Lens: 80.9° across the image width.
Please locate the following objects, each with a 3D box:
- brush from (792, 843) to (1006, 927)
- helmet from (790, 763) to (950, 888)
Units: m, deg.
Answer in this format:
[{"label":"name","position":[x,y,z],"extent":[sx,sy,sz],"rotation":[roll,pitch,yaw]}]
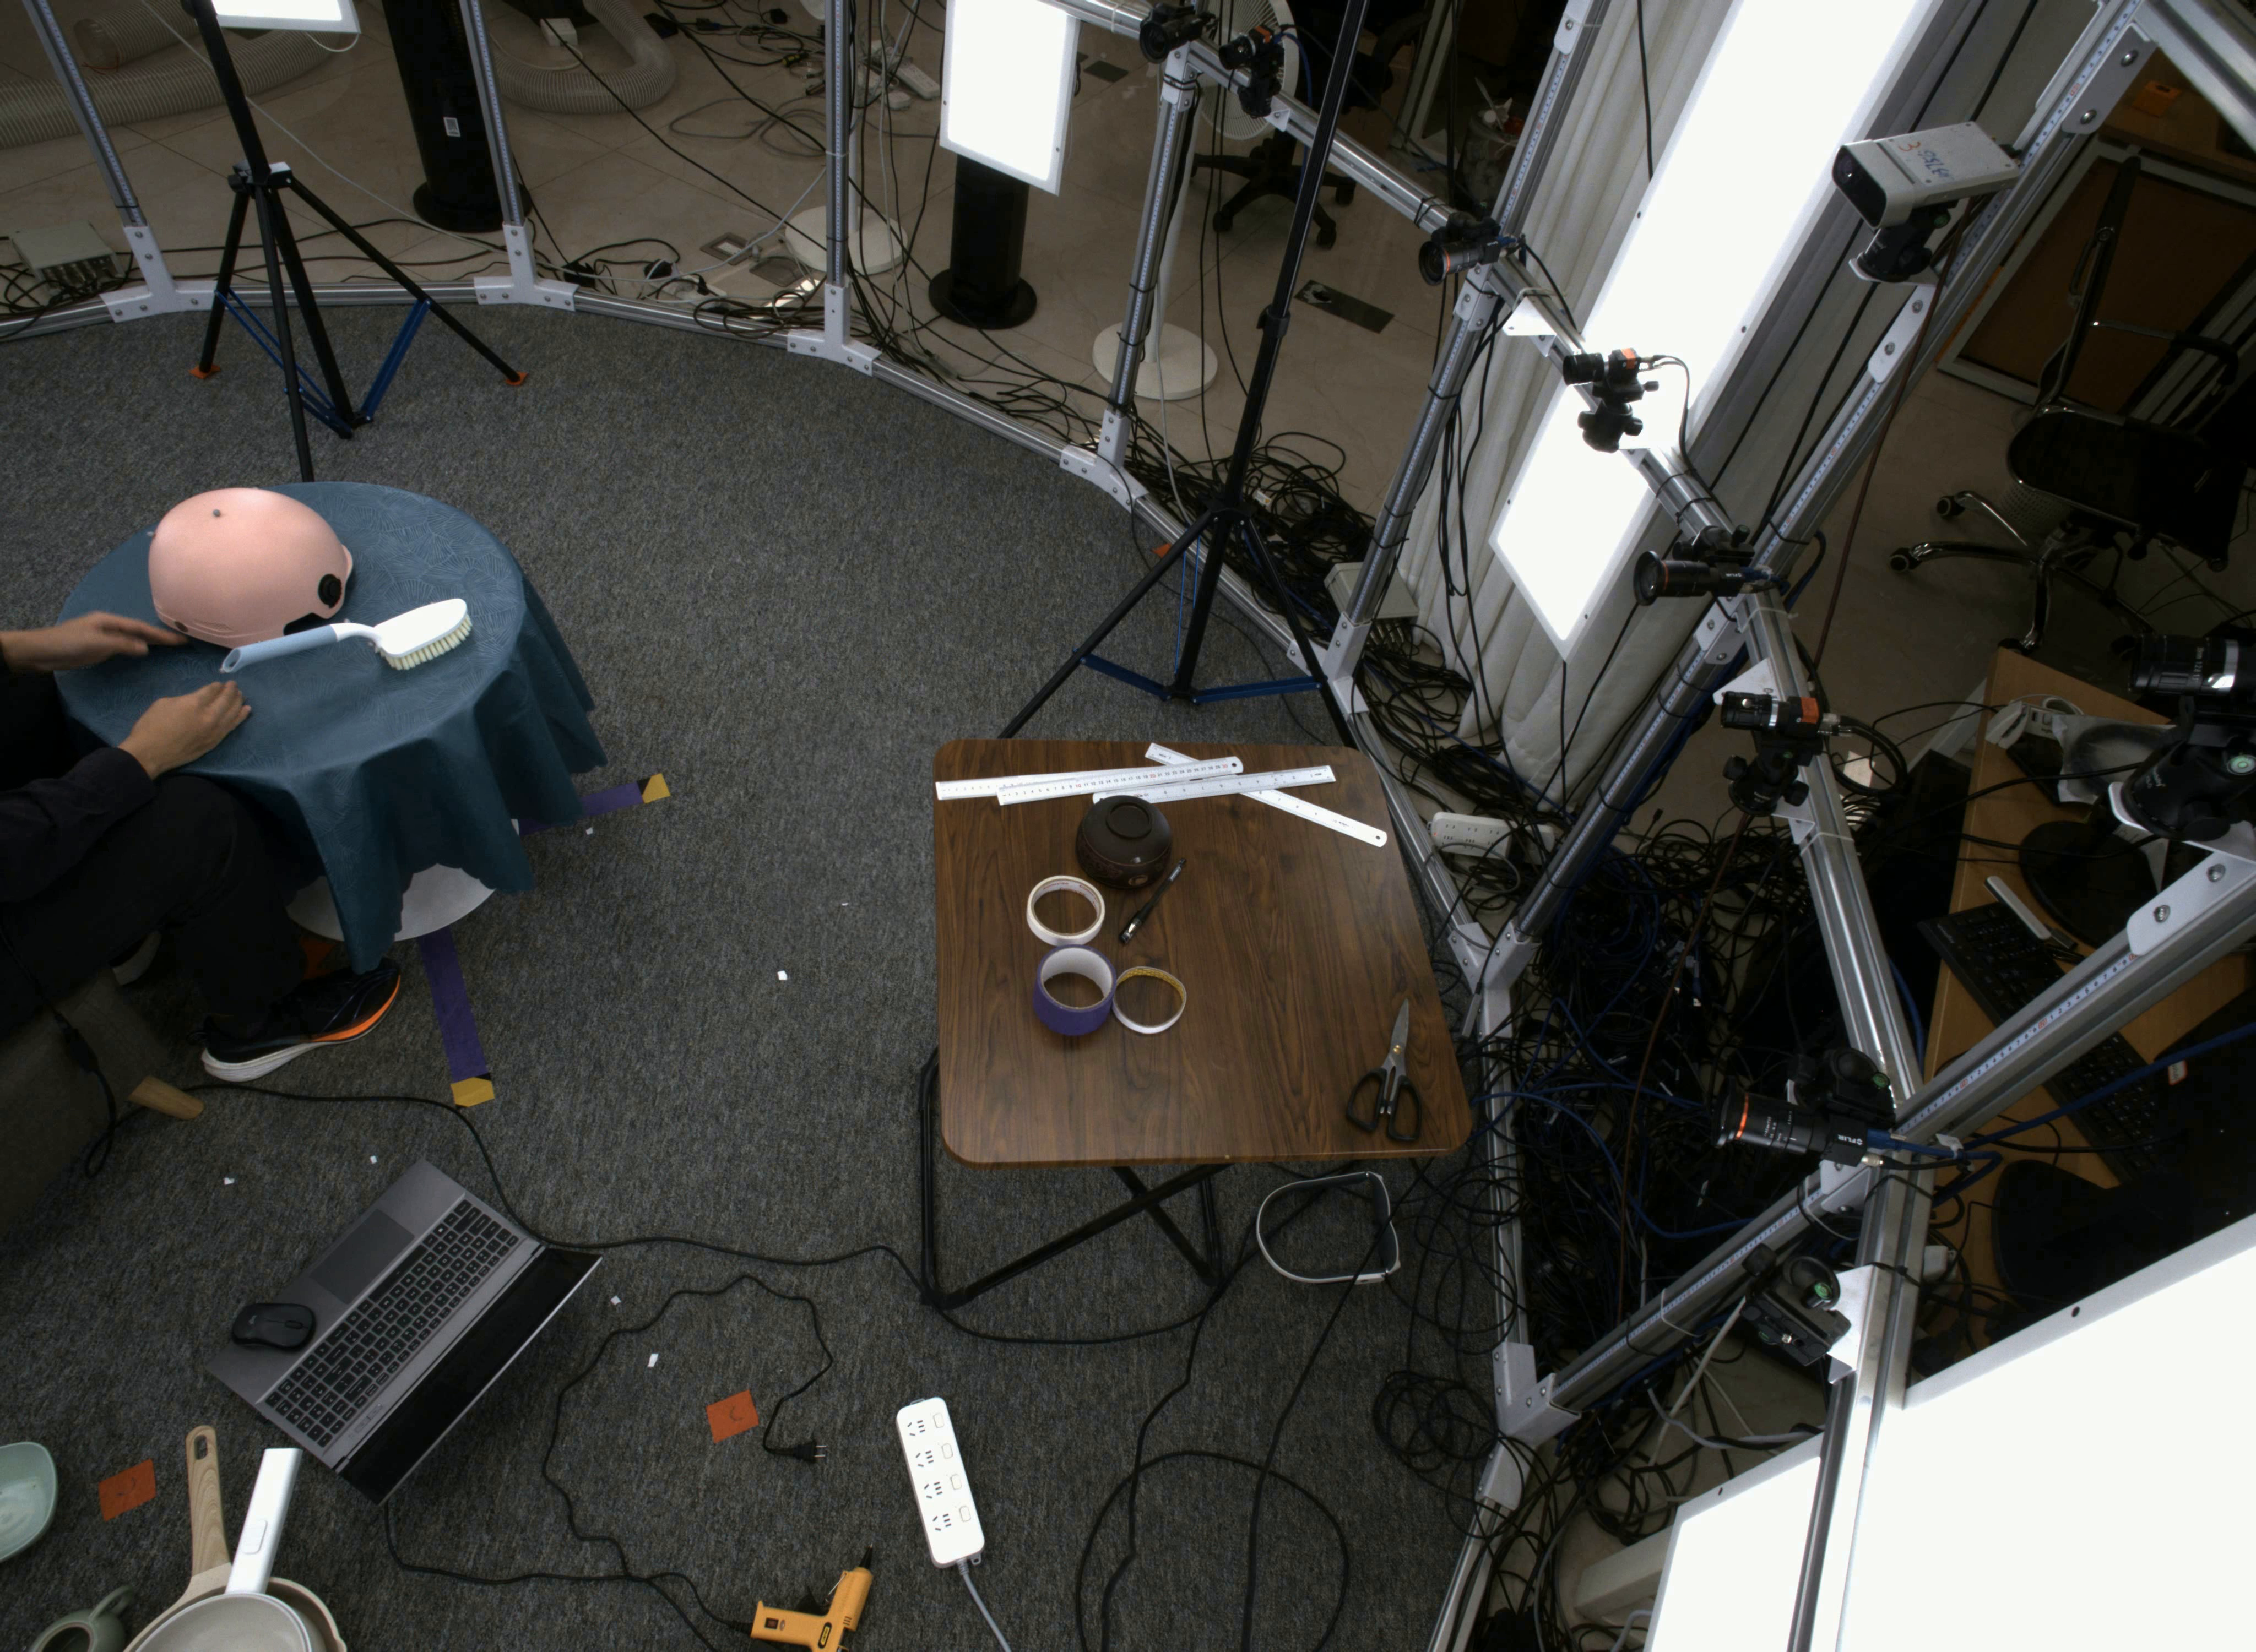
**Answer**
[{"label":"brush","position":[-0.339,0.098,1.925],"extent":[0.329,0.084,0.082],"rotation":[12,-16,-21]},{"label":"helmet","position":[-0.408,-0.018,2.088],"extent":[0.270,0.163,0.225],"rotation":[-7,26,-39]}]
